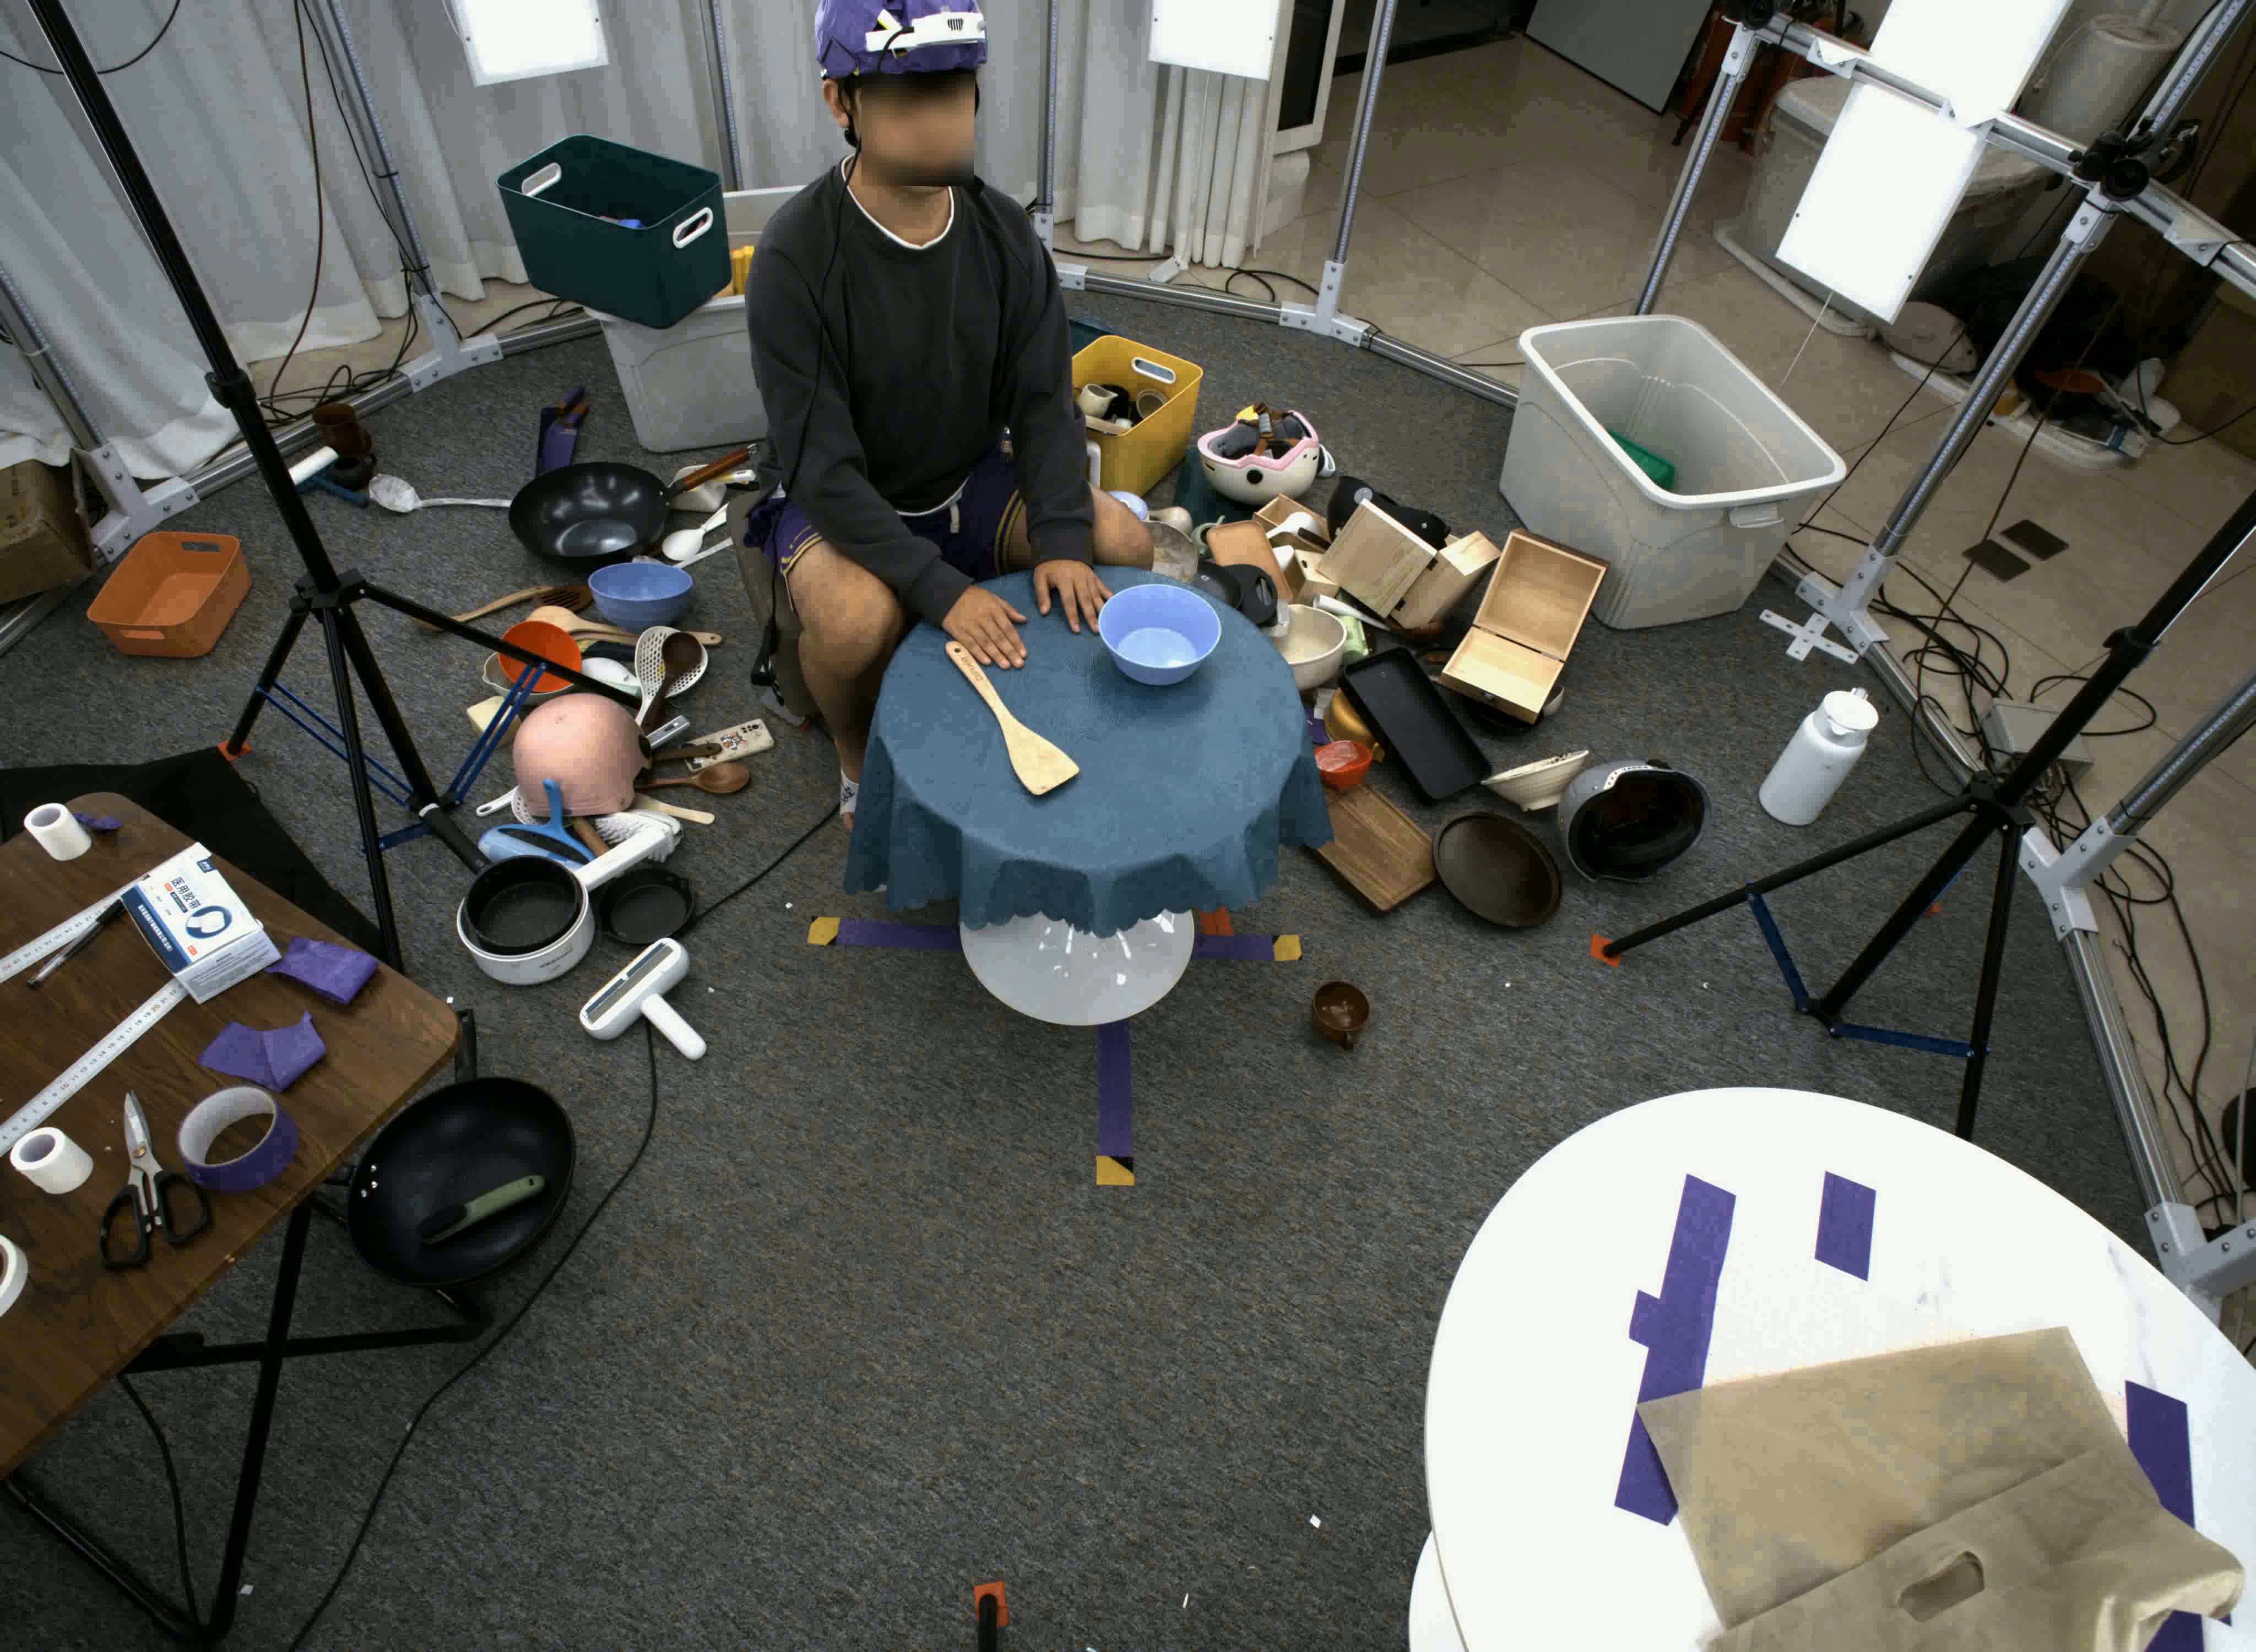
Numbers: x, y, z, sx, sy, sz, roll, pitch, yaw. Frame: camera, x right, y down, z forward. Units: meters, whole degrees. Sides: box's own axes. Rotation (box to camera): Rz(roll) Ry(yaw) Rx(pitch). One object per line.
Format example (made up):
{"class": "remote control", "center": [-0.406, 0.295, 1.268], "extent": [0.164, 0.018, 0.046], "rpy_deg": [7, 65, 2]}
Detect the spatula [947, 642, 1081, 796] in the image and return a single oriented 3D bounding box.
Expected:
{"class": "spatula", "center": [-0.171, -0.158, 1.782], "extent": [0.080, 0.016, 0.334], "rpy_deg": [-22, 54, -21]}

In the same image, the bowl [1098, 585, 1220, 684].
{"class": "bowl", "center": [0.043, -0.268, 1.857], "extent": [0.176, 0.068, 0.180], "rpy_deg": [2, 49, -2]}
